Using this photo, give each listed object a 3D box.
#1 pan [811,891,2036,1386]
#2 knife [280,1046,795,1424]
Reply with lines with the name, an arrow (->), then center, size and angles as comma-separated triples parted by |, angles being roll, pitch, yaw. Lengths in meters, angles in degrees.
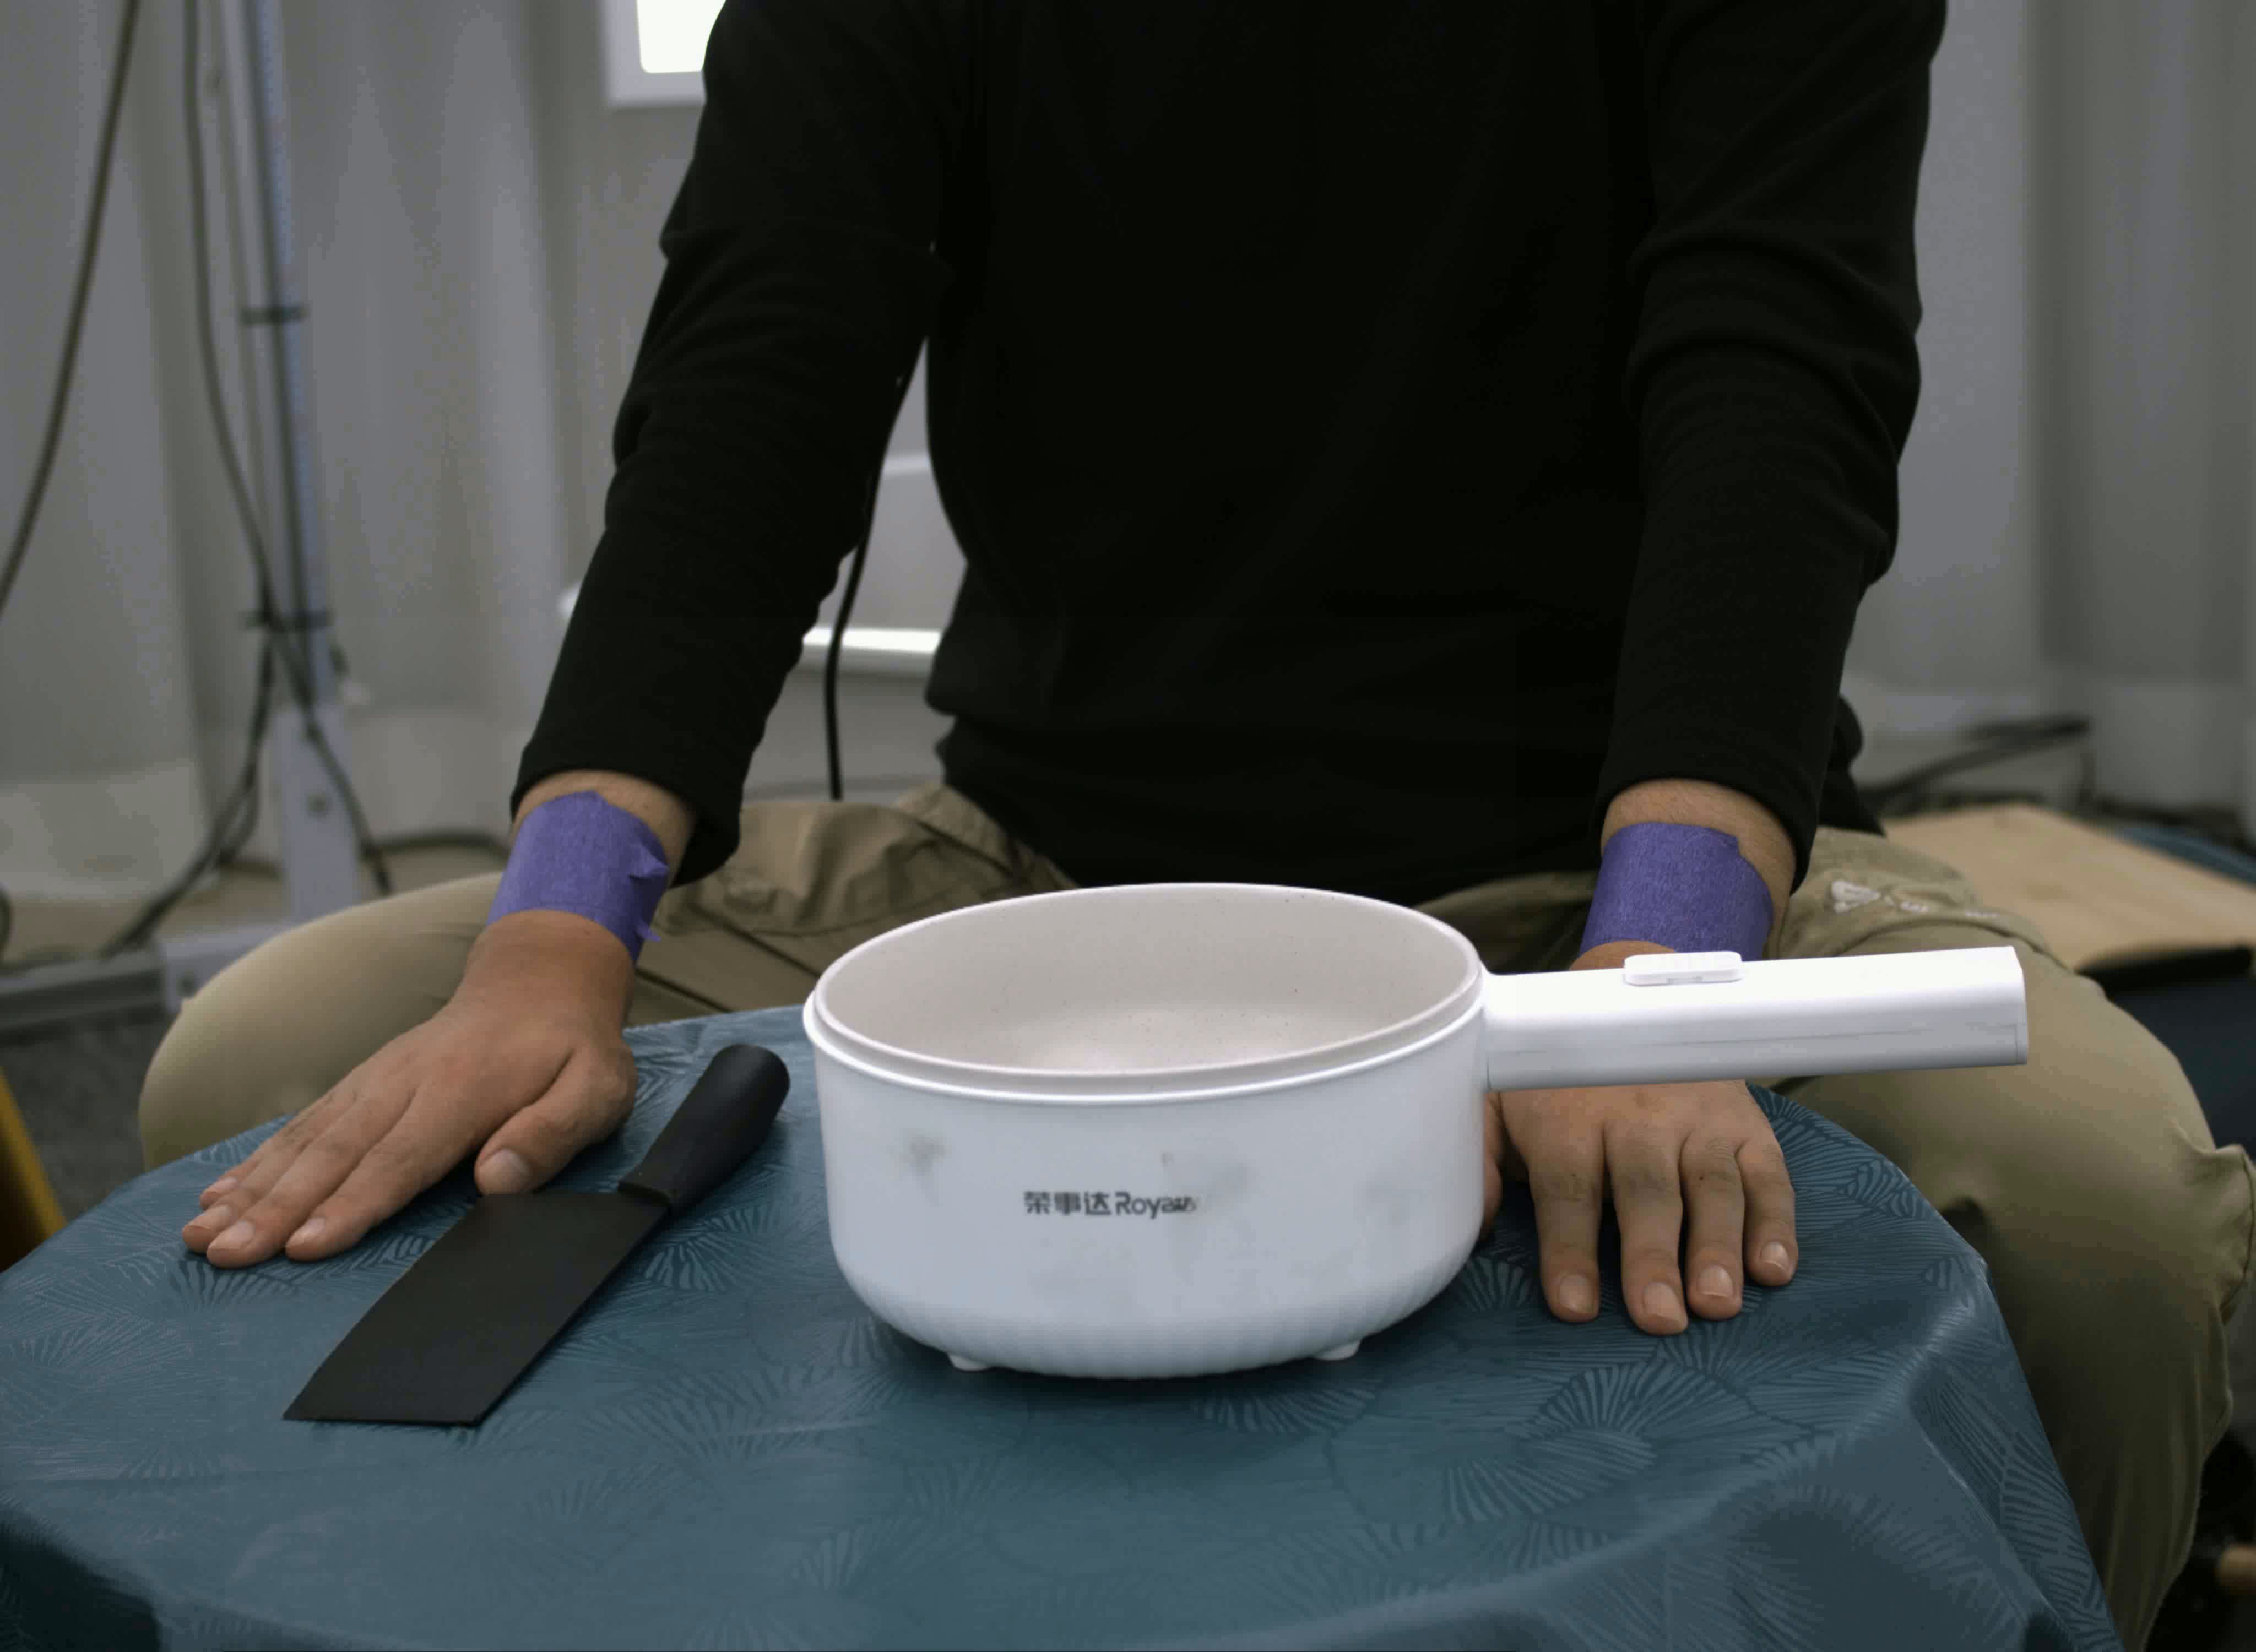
pan -> 0.085, 0.092, 1.599 | 0.354, 0.102, 0.202 | -1, 14, 4
knife -> -0.173, 0.125, 1.684 | 0.081, 0.021, 0.303 | 1, 17, 20
